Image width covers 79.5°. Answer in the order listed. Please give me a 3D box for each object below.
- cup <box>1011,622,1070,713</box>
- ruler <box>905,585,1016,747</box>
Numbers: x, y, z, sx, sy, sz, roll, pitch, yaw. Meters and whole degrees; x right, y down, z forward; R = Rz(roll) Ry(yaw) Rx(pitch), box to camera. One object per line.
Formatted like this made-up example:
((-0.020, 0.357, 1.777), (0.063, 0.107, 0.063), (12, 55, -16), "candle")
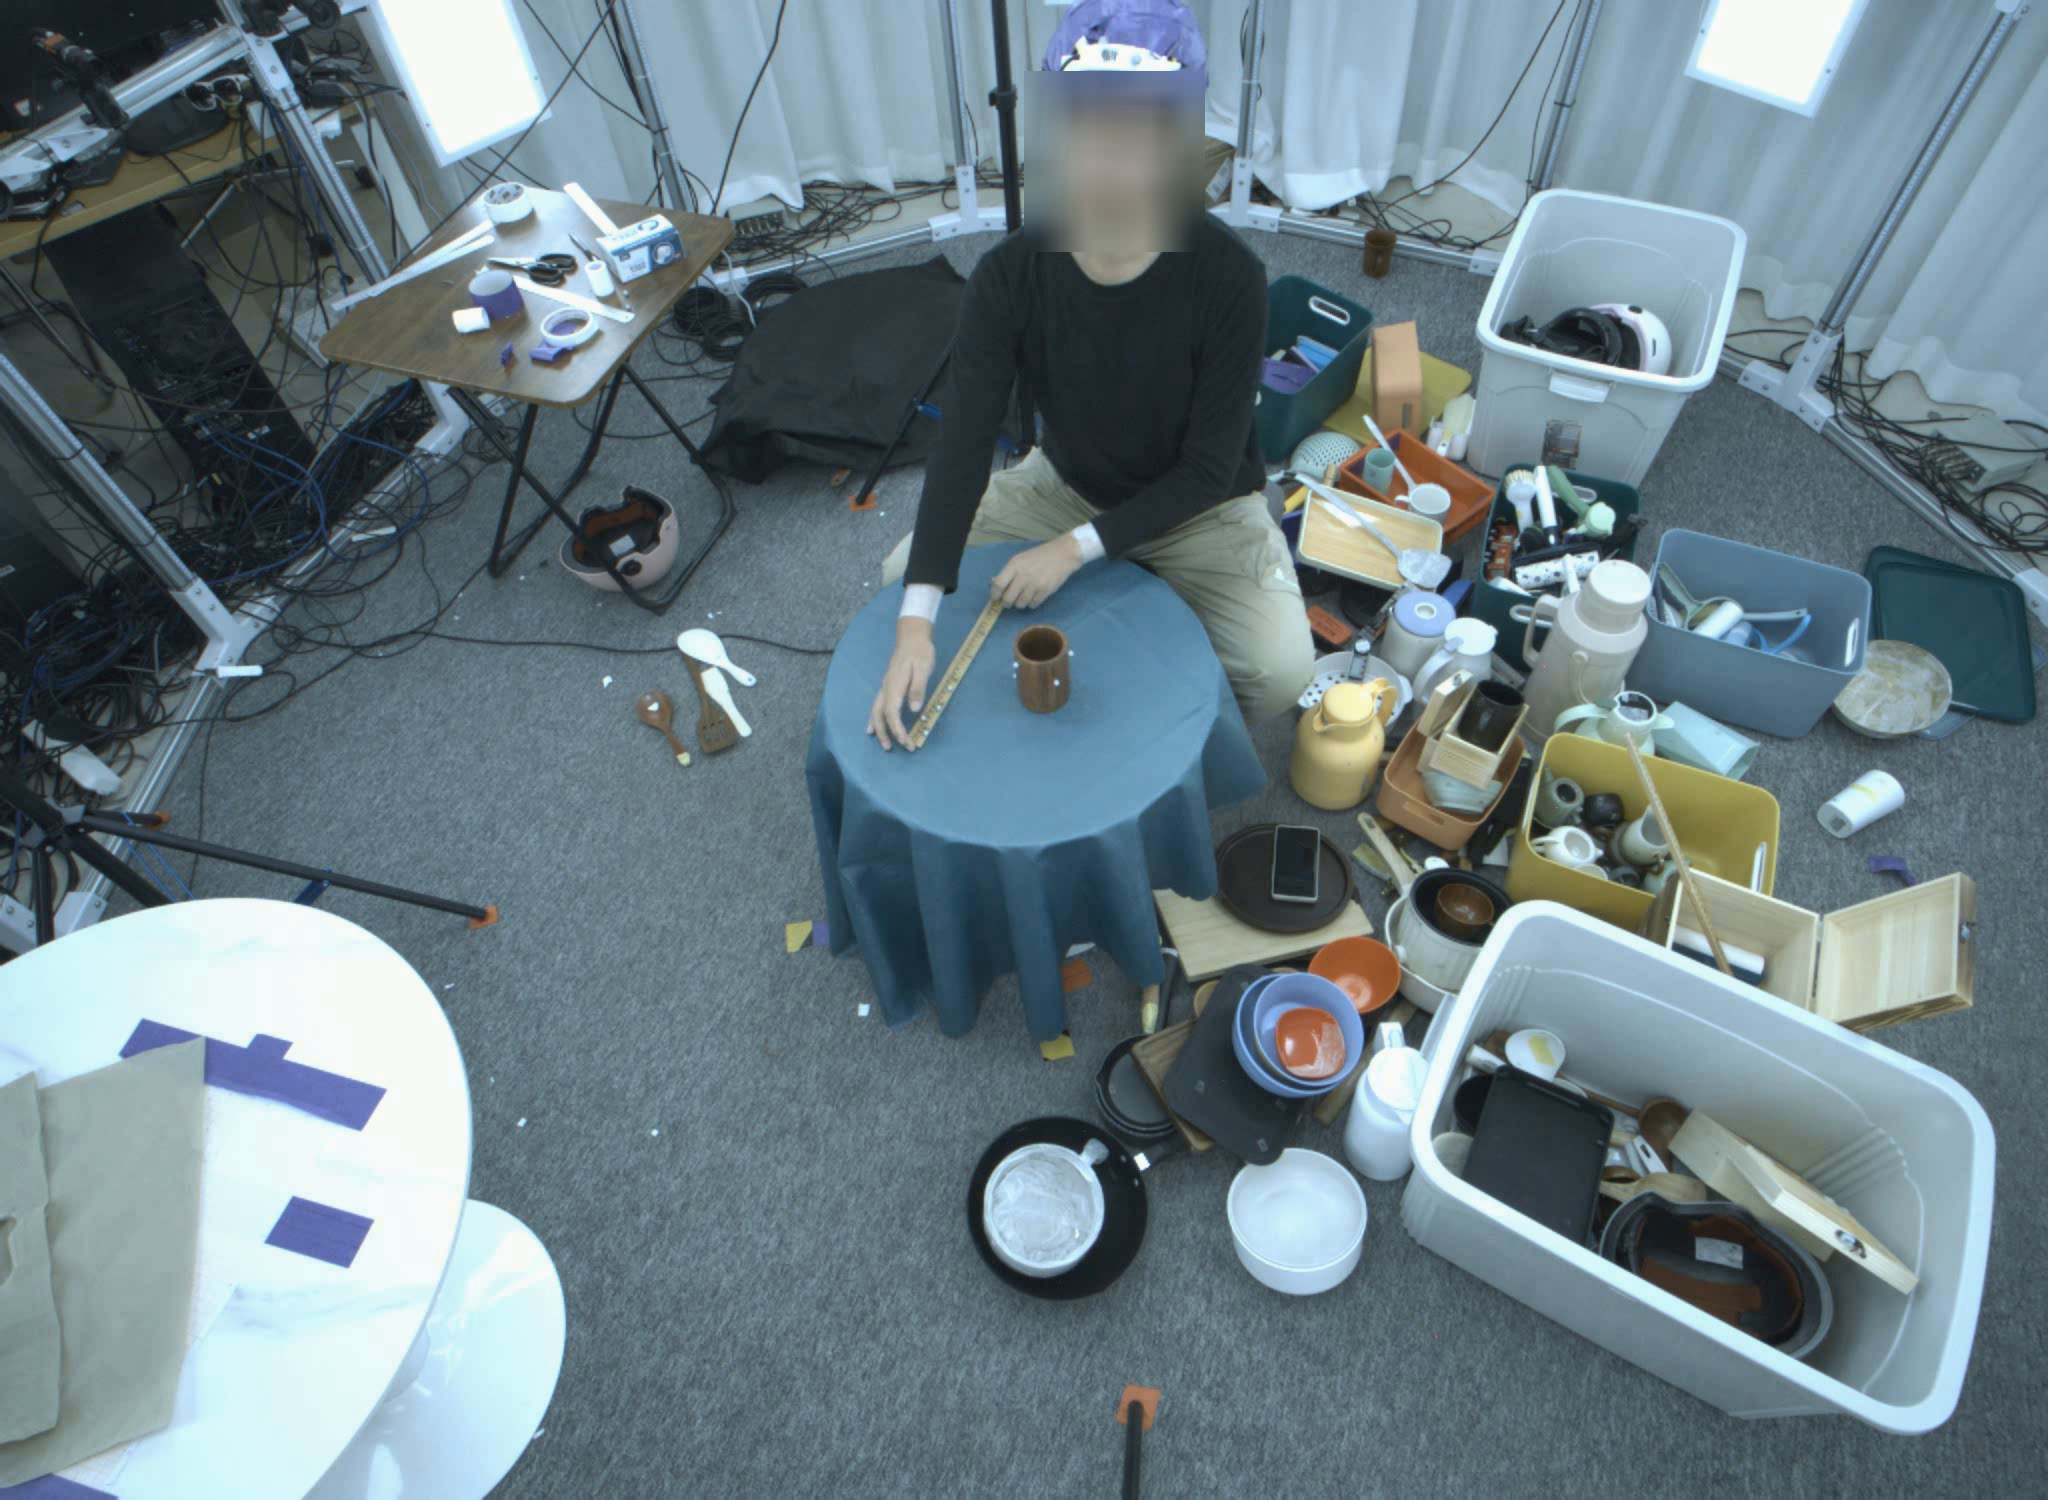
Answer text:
((0.025, -0.121, 1.800), (0.087, 0.119, 0.087), (-1, 55, 2), "cup")
((-0.093, -0.136, 1.877), (0.027, 0.022, 0.332), (32, 59, -4), "ruler")
